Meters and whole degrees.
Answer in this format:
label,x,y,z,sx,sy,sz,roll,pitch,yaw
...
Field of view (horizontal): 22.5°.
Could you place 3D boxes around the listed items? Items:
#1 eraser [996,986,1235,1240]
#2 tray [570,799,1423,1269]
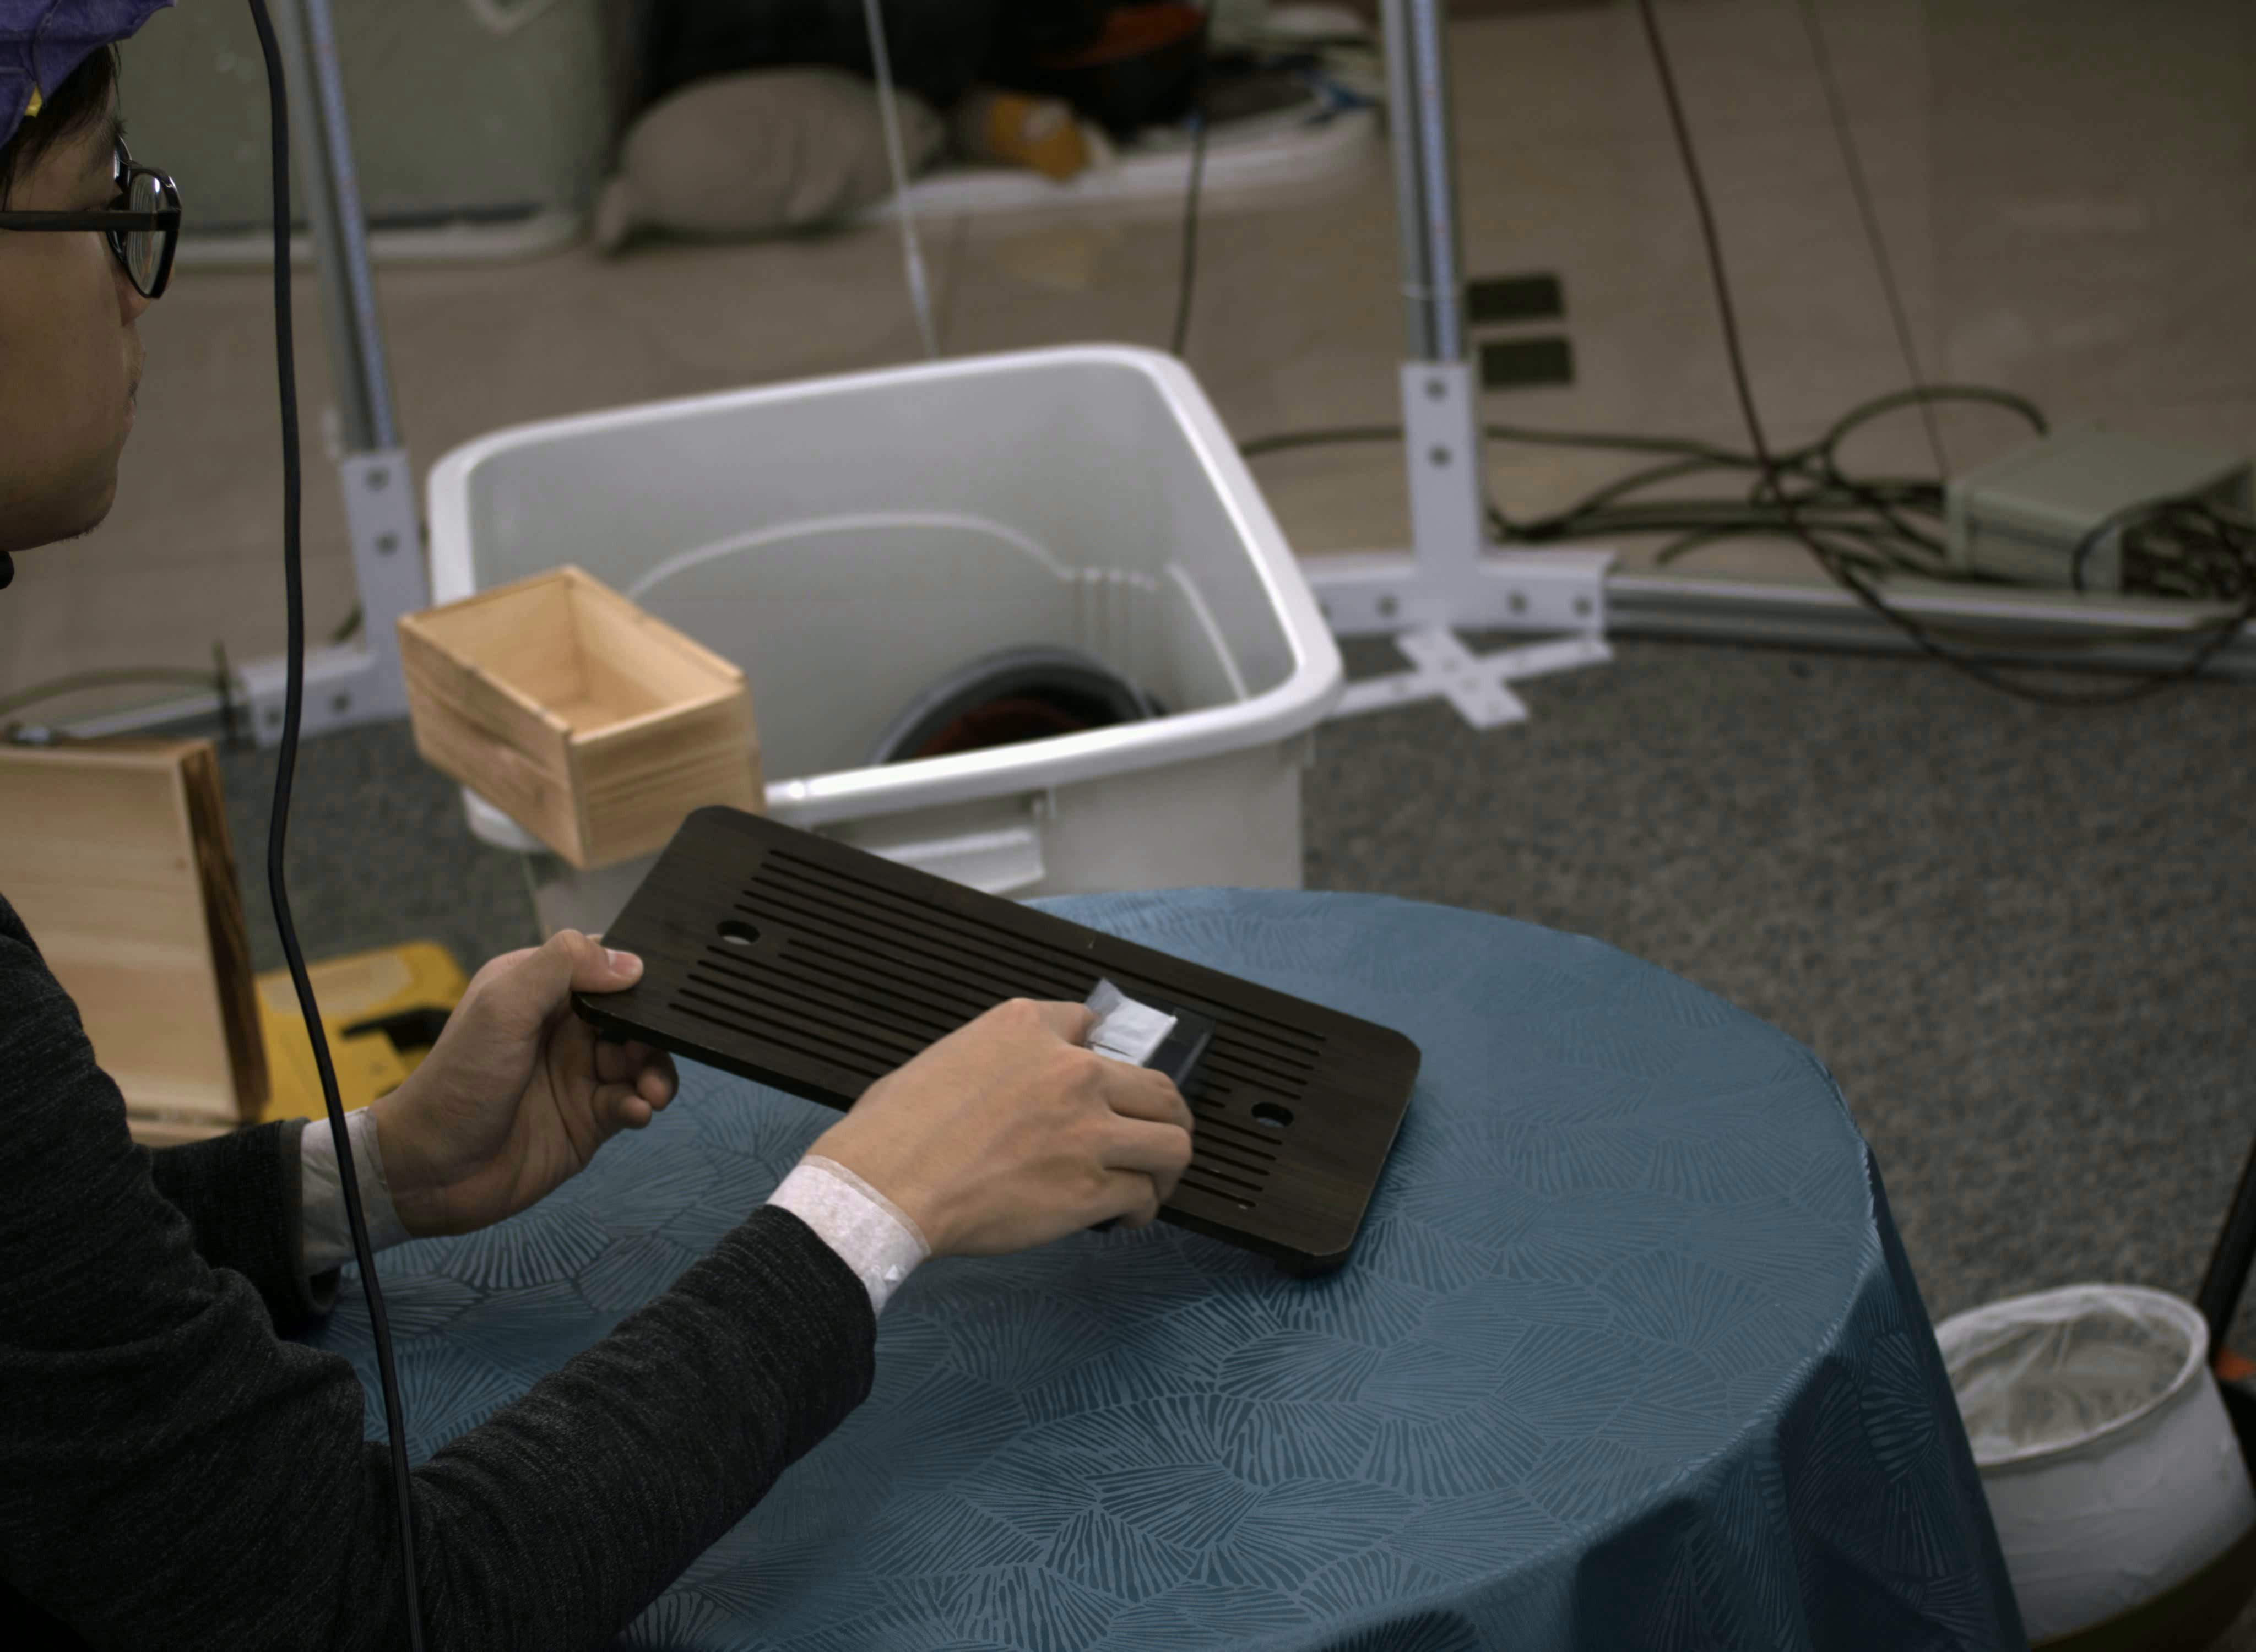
label,x,y,z,sx,sy,sz,roll,pitch,yaw
eraser,-0.005,0.104,2.090,0.053,0.031,0.124,19,32,10
tray,-0.047,0.078,2.152,0.305,0.019,0.167,19,31,5
